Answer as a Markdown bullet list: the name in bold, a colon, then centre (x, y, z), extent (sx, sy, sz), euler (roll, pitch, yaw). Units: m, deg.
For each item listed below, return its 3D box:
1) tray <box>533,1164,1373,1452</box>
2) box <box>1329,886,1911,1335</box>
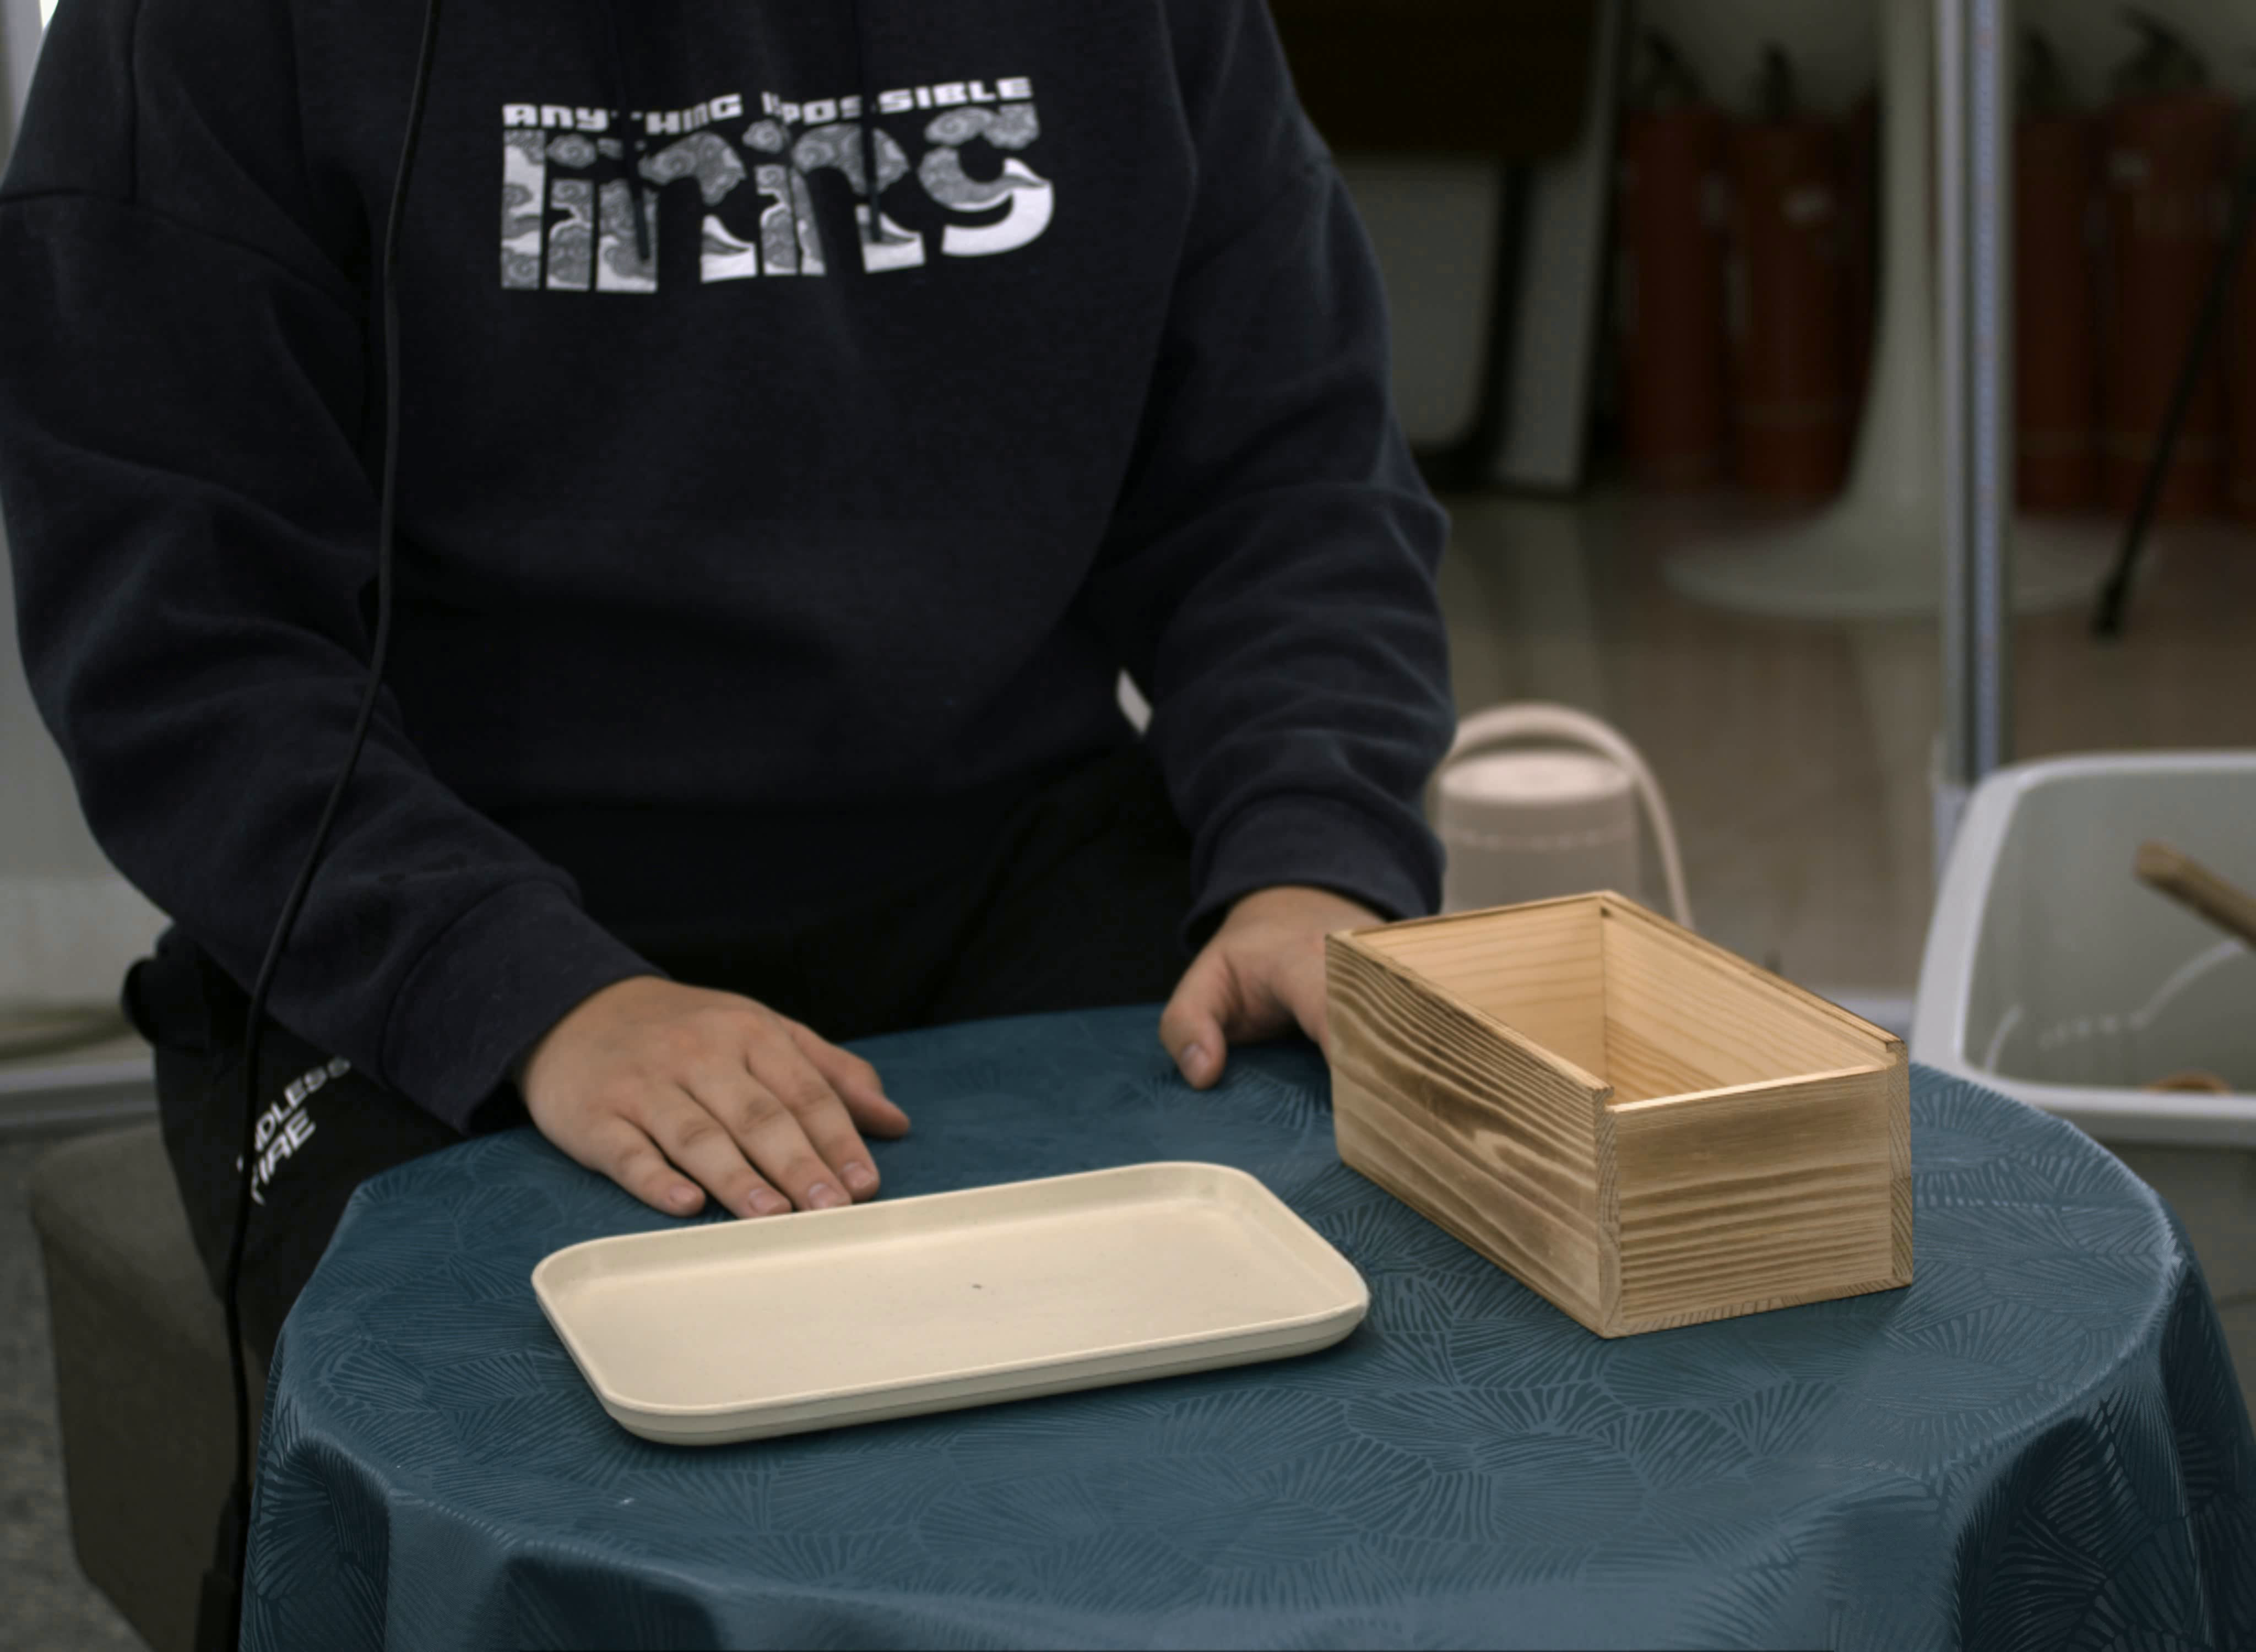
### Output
- **tray**: centre (-0.055, 0.147, 1.650), extent (0.235, 0.017, 0.172), euler (-8, 14, -15)
- **box**: centre (0.152, 0.086, 1.705), extent (0.105, 0.081, 0.213), euler (-8, 14, -19)
